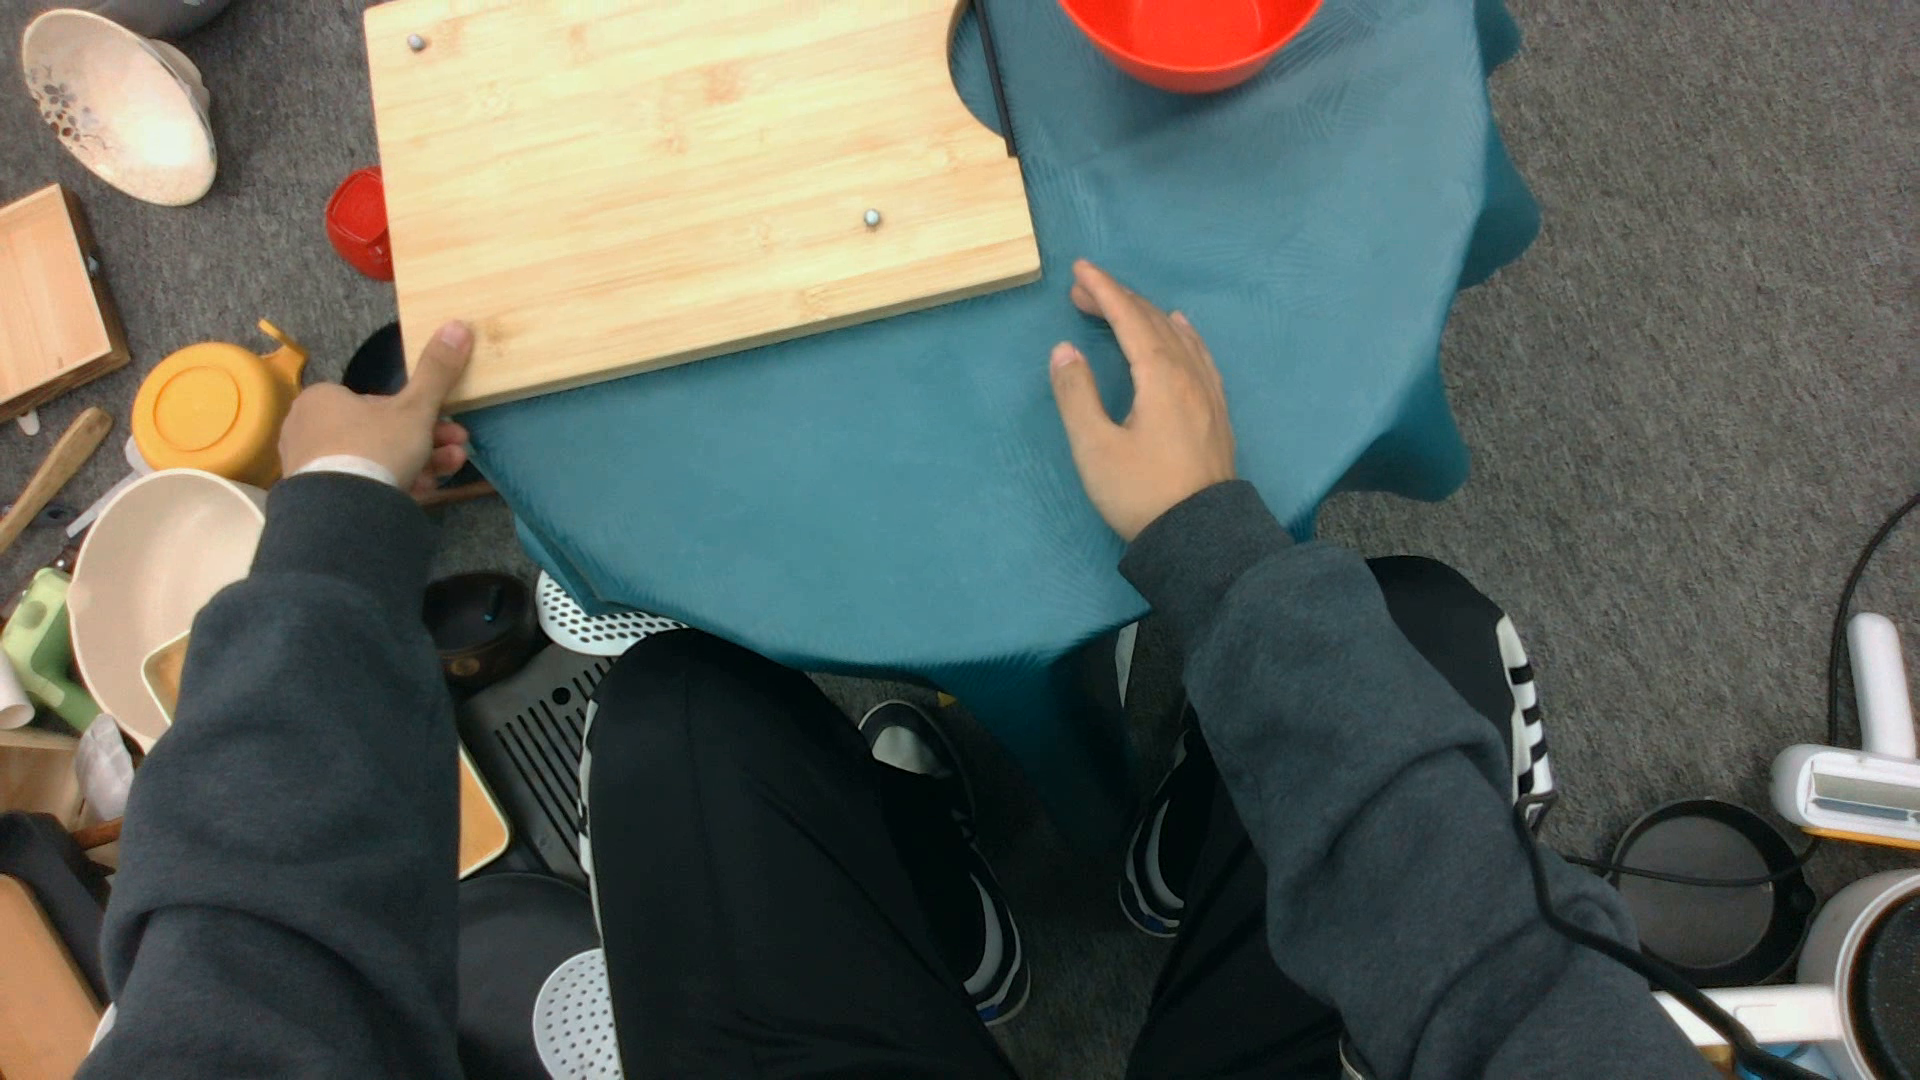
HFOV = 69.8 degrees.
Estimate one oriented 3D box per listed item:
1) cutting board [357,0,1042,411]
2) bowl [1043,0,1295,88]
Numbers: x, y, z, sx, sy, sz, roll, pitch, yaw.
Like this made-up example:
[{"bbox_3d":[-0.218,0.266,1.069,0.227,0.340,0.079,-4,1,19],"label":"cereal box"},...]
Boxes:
[{"bbox_3d":[-0.150,-0.222,0.749,0.348,0.023,0.251,-13,79,2],"label":"cutting board"},{"bbox_3d":[0.102,-0.292,0.696,0.148,0.104,0.148,-1,79,5],"label":"bowl"}]
